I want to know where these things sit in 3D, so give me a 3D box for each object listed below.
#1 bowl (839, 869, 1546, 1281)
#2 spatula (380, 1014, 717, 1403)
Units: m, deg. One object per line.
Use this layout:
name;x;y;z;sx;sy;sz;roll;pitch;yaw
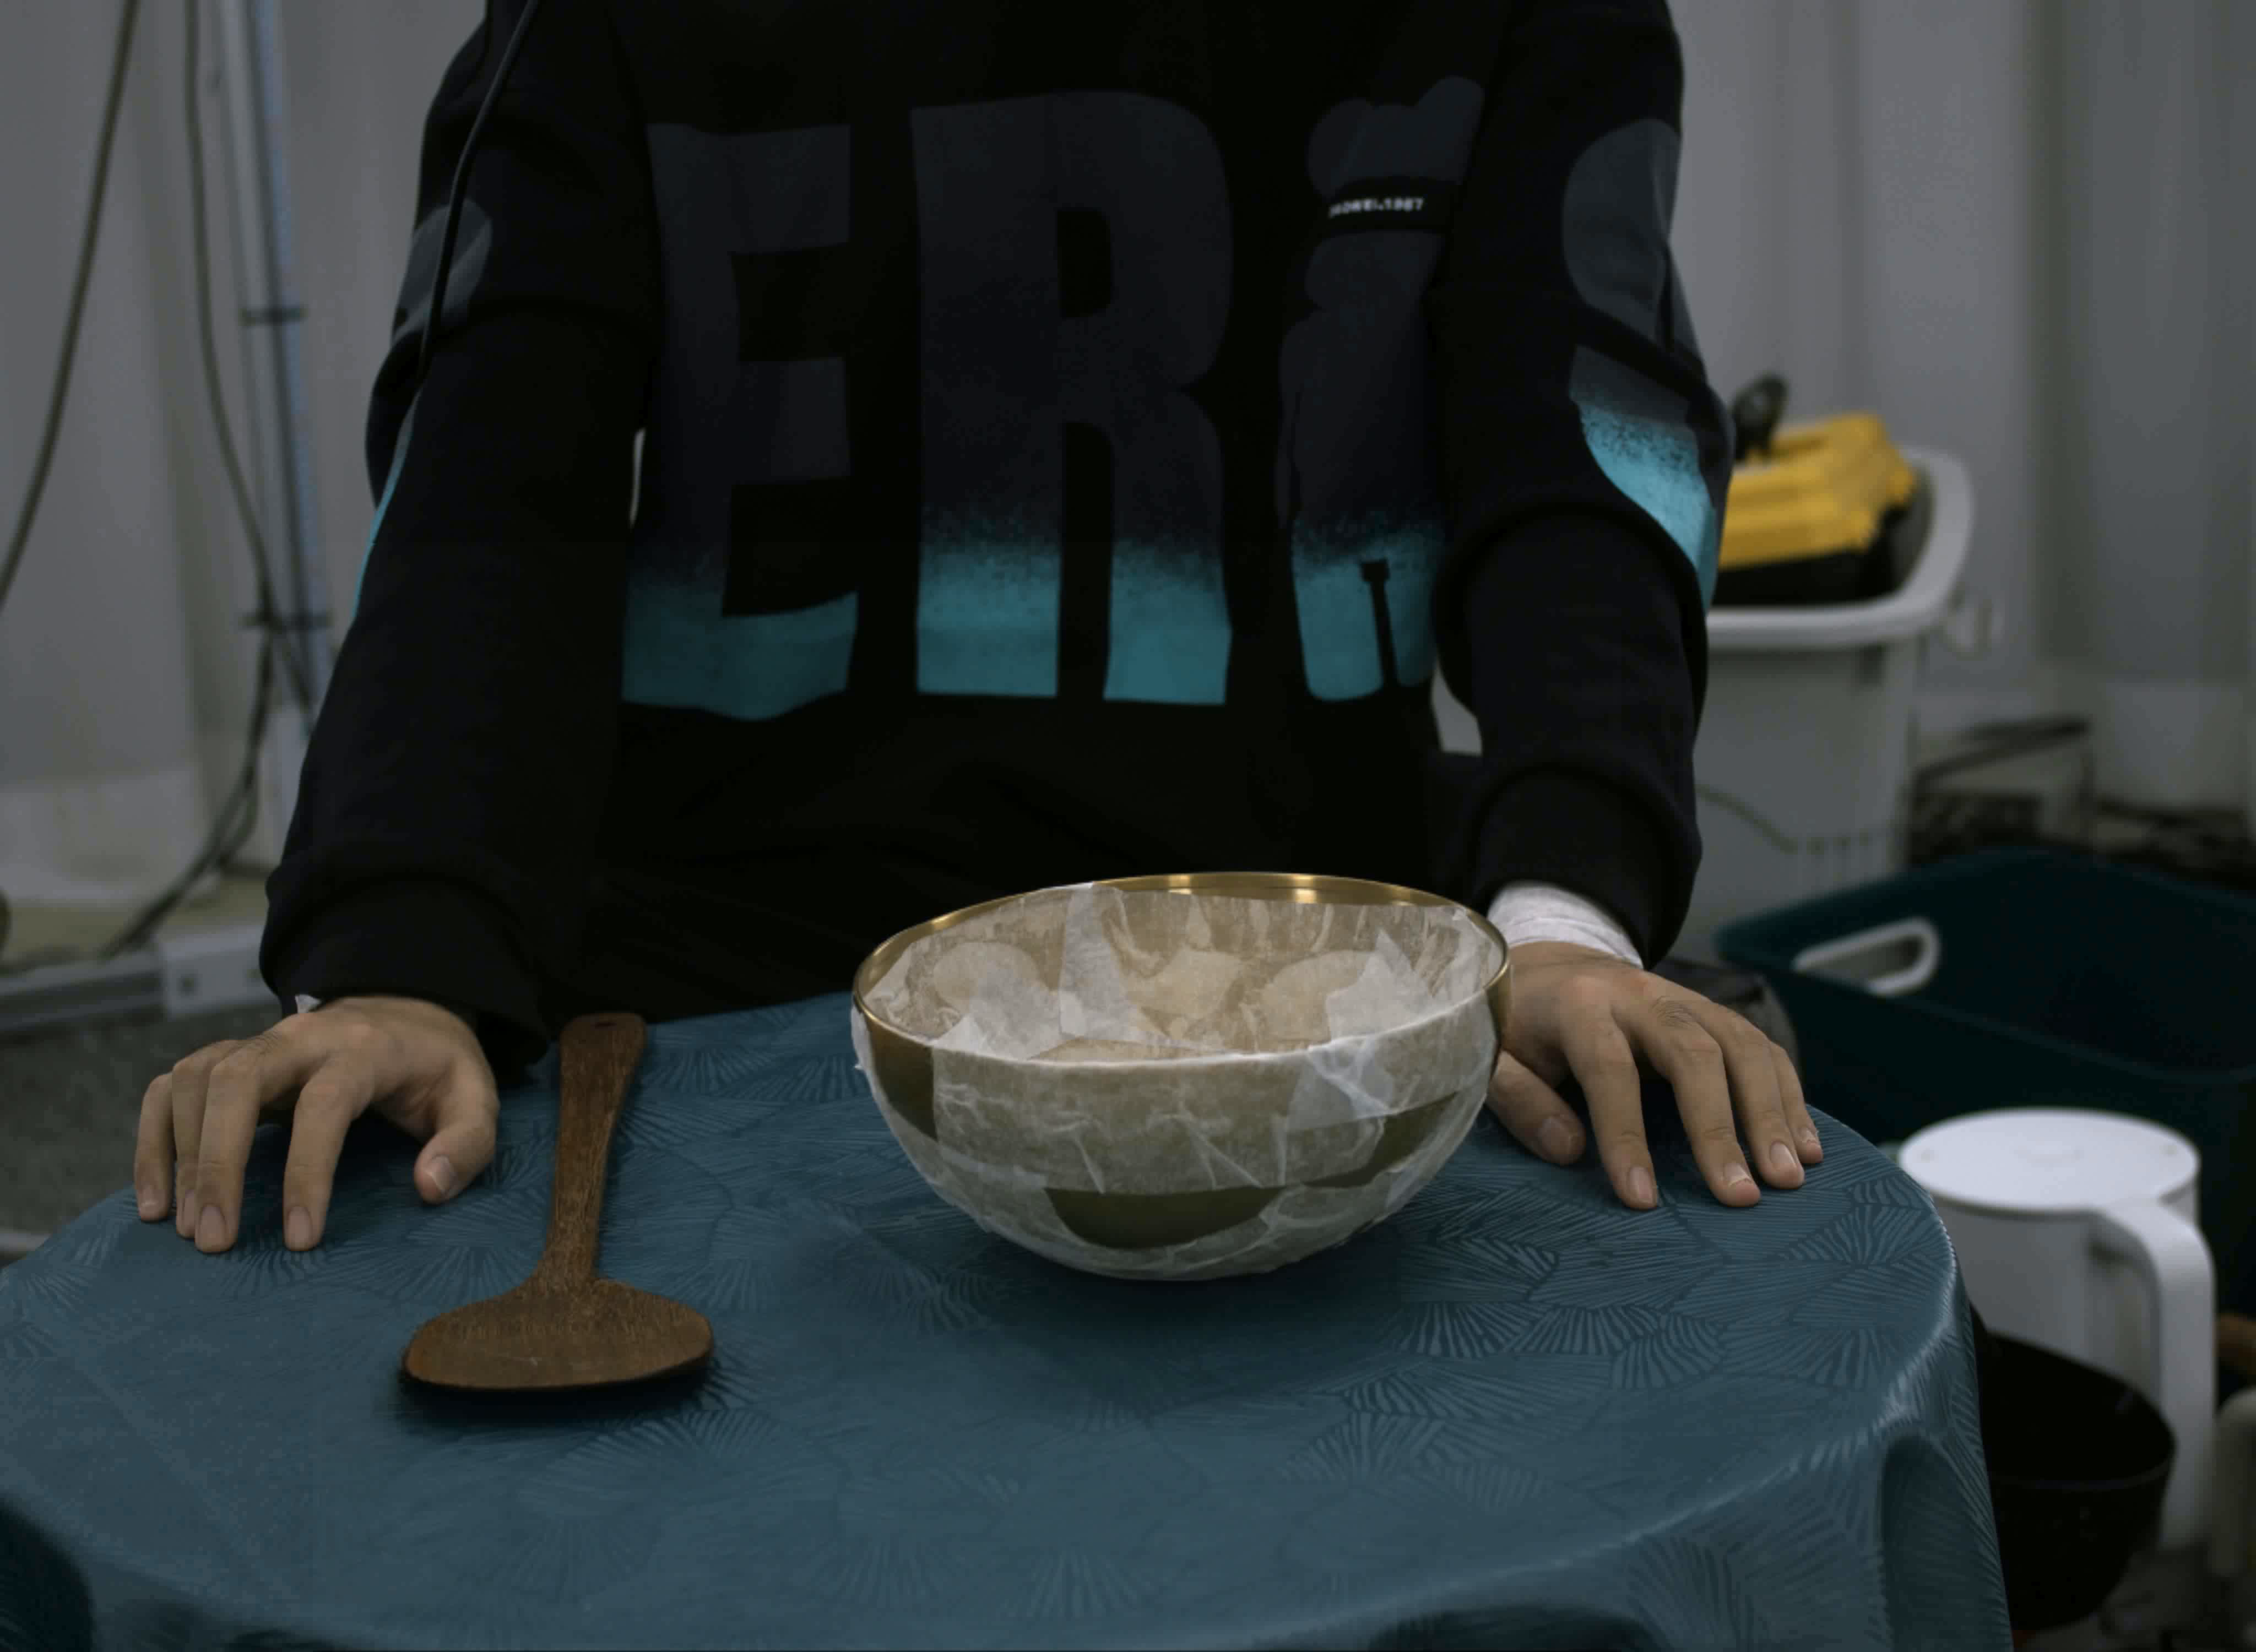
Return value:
bowl;0.020;0.083;1.653;0.214;0.094;0.216;-4;13;1
spatula;-0.174;0.114;1.724;0.096;0.016;0.388;-3;15;-2
